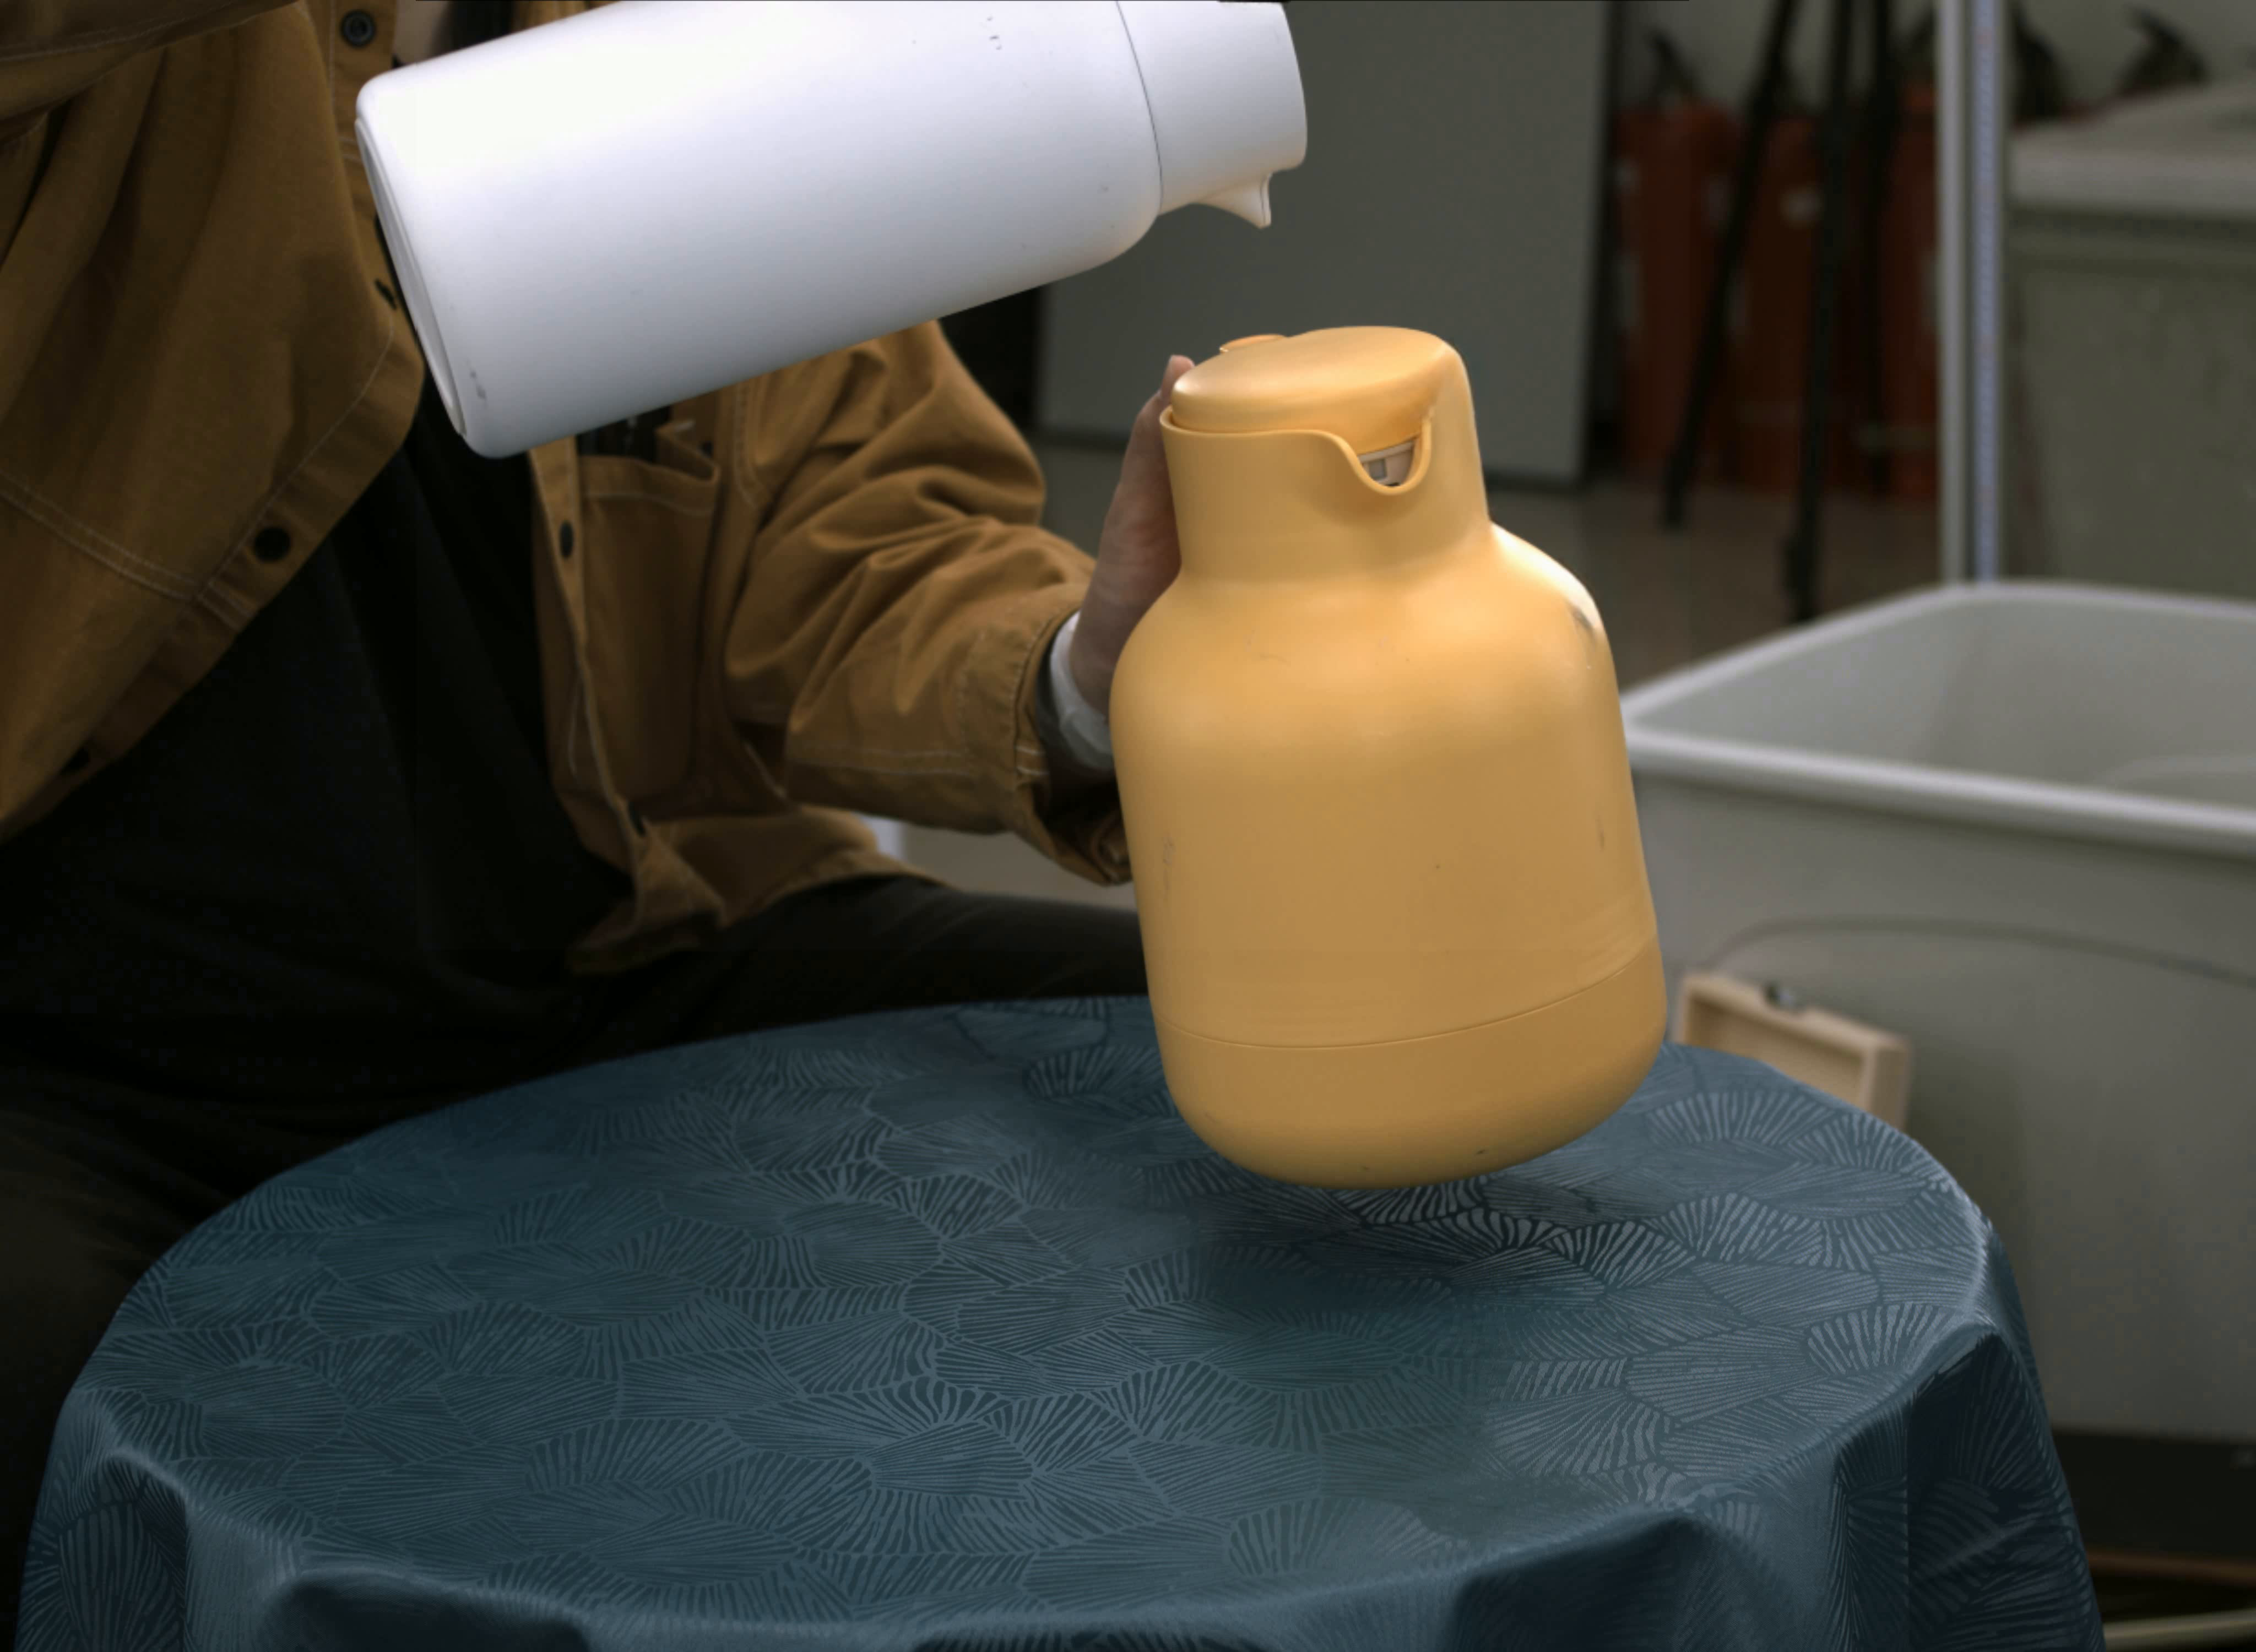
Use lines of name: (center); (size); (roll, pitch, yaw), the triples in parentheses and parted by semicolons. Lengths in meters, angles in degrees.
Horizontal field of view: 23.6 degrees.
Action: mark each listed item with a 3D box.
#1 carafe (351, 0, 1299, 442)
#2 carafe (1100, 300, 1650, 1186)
carafe: (-0.091, -0.222, 1.584); (0.265, 0.173, 0.125); (-18, 31, -5)
carafe: (0.069, -0.035, 1.703); (0.160, 0.263, 0.204); (-11, 16, -11)
